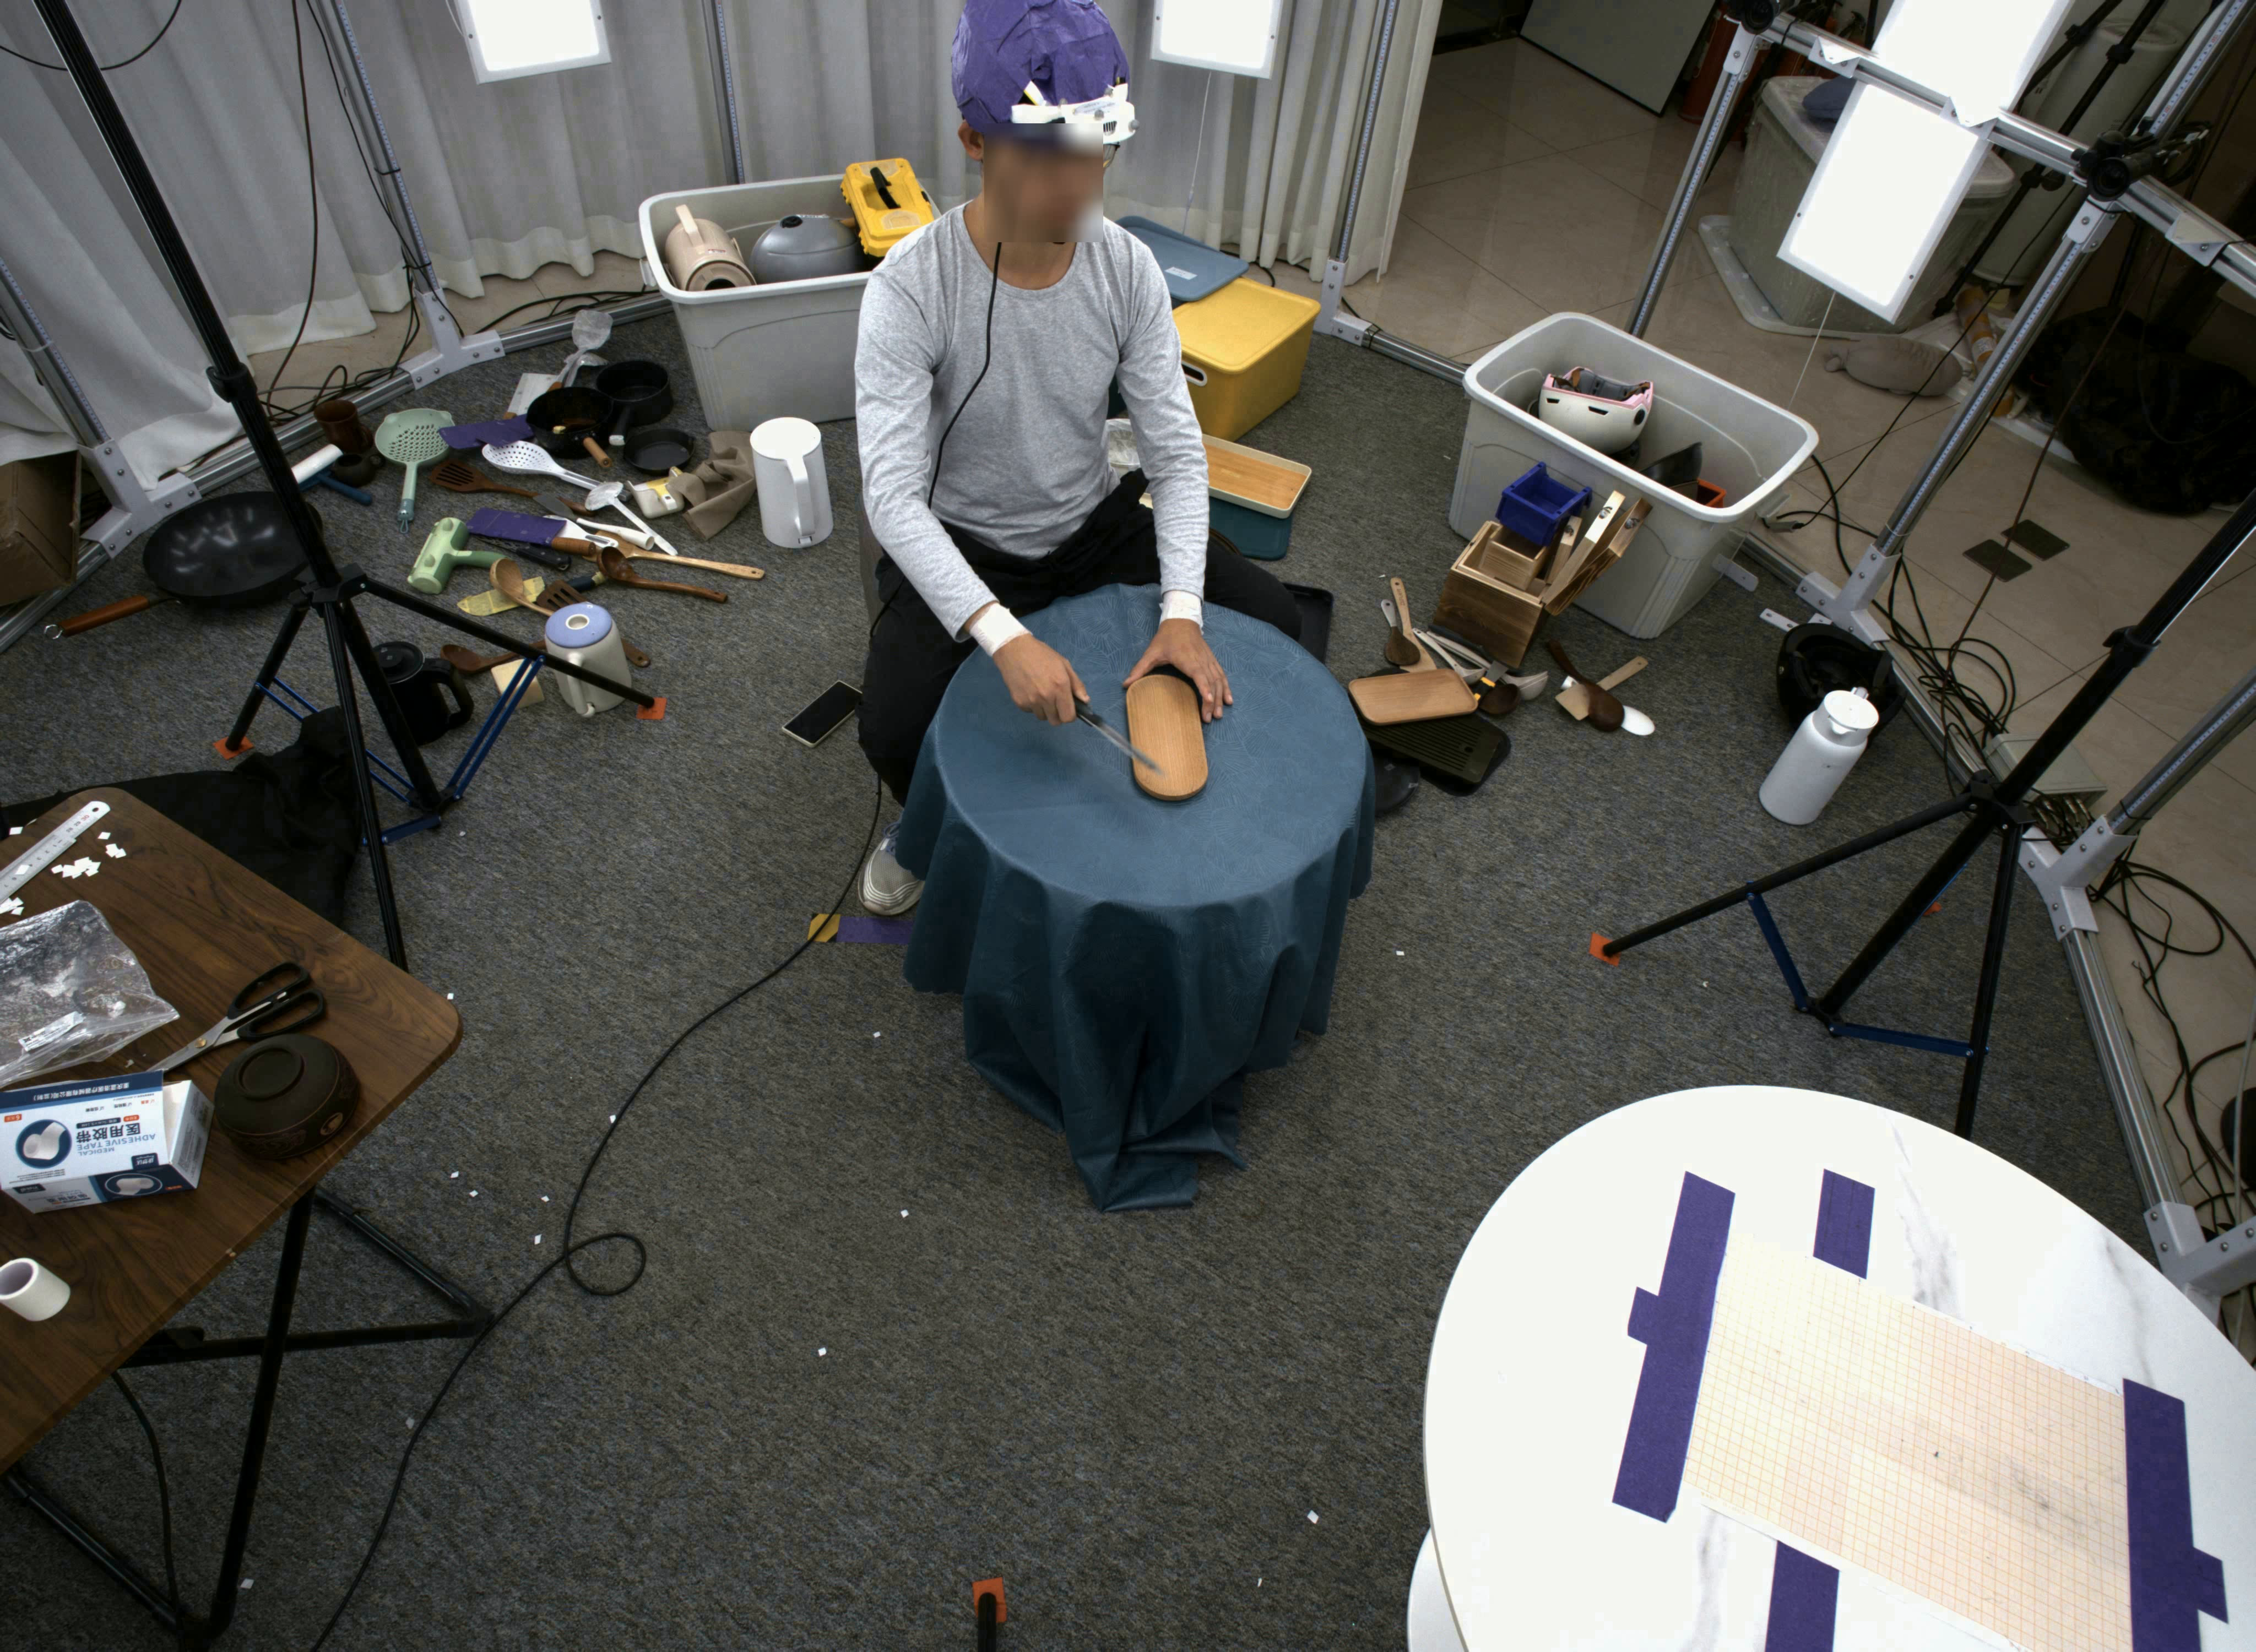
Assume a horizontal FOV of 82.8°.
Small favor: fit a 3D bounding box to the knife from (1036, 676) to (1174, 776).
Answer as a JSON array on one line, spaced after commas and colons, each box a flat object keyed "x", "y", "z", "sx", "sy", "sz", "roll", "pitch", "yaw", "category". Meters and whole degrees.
[{"x": -0.034, "y": -0.131, "z": 1.684, "sx": 0.241, "sy": 0.016, "sz": 0.024, "roll": 36, "pitch": 34, "yaw": 21, "category": "knife"}]

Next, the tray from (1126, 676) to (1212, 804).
[{"x": 0.055, "y": -0.121, "z": 1.766, "sx": 0.101, "sy": 0.020, "sz": 0.237, "roll": -4, "pitch": 51, "yaw": -5, "category": "tray"}]
